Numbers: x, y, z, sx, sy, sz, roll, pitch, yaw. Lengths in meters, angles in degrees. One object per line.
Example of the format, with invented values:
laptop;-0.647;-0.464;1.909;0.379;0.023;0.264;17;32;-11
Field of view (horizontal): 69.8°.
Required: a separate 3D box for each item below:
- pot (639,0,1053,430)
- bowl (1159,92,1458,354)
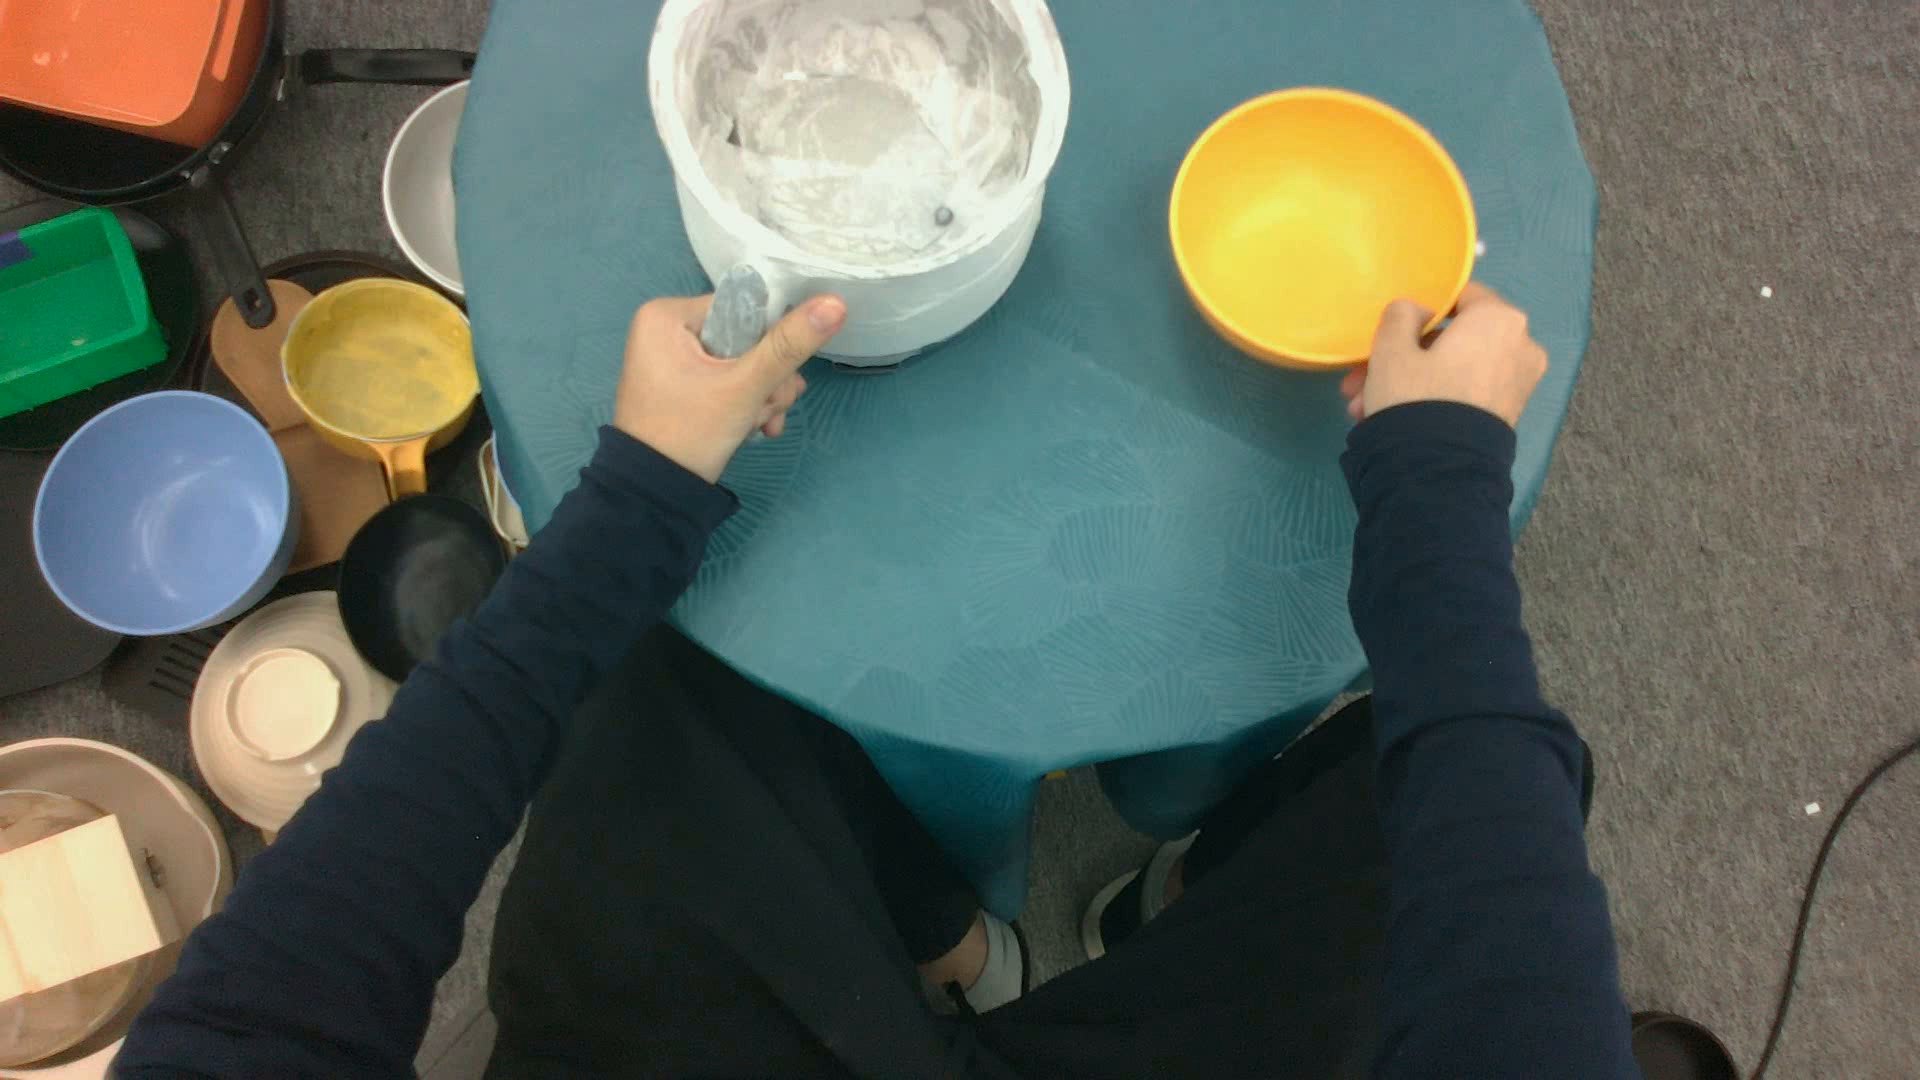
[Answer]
pot;-0.065;-0.164;0.644;0.179;0.136;0.234;27;79;0
bowl;0.165;-0.146;0.682;0.145;0.060;0.146;2;67;-4
